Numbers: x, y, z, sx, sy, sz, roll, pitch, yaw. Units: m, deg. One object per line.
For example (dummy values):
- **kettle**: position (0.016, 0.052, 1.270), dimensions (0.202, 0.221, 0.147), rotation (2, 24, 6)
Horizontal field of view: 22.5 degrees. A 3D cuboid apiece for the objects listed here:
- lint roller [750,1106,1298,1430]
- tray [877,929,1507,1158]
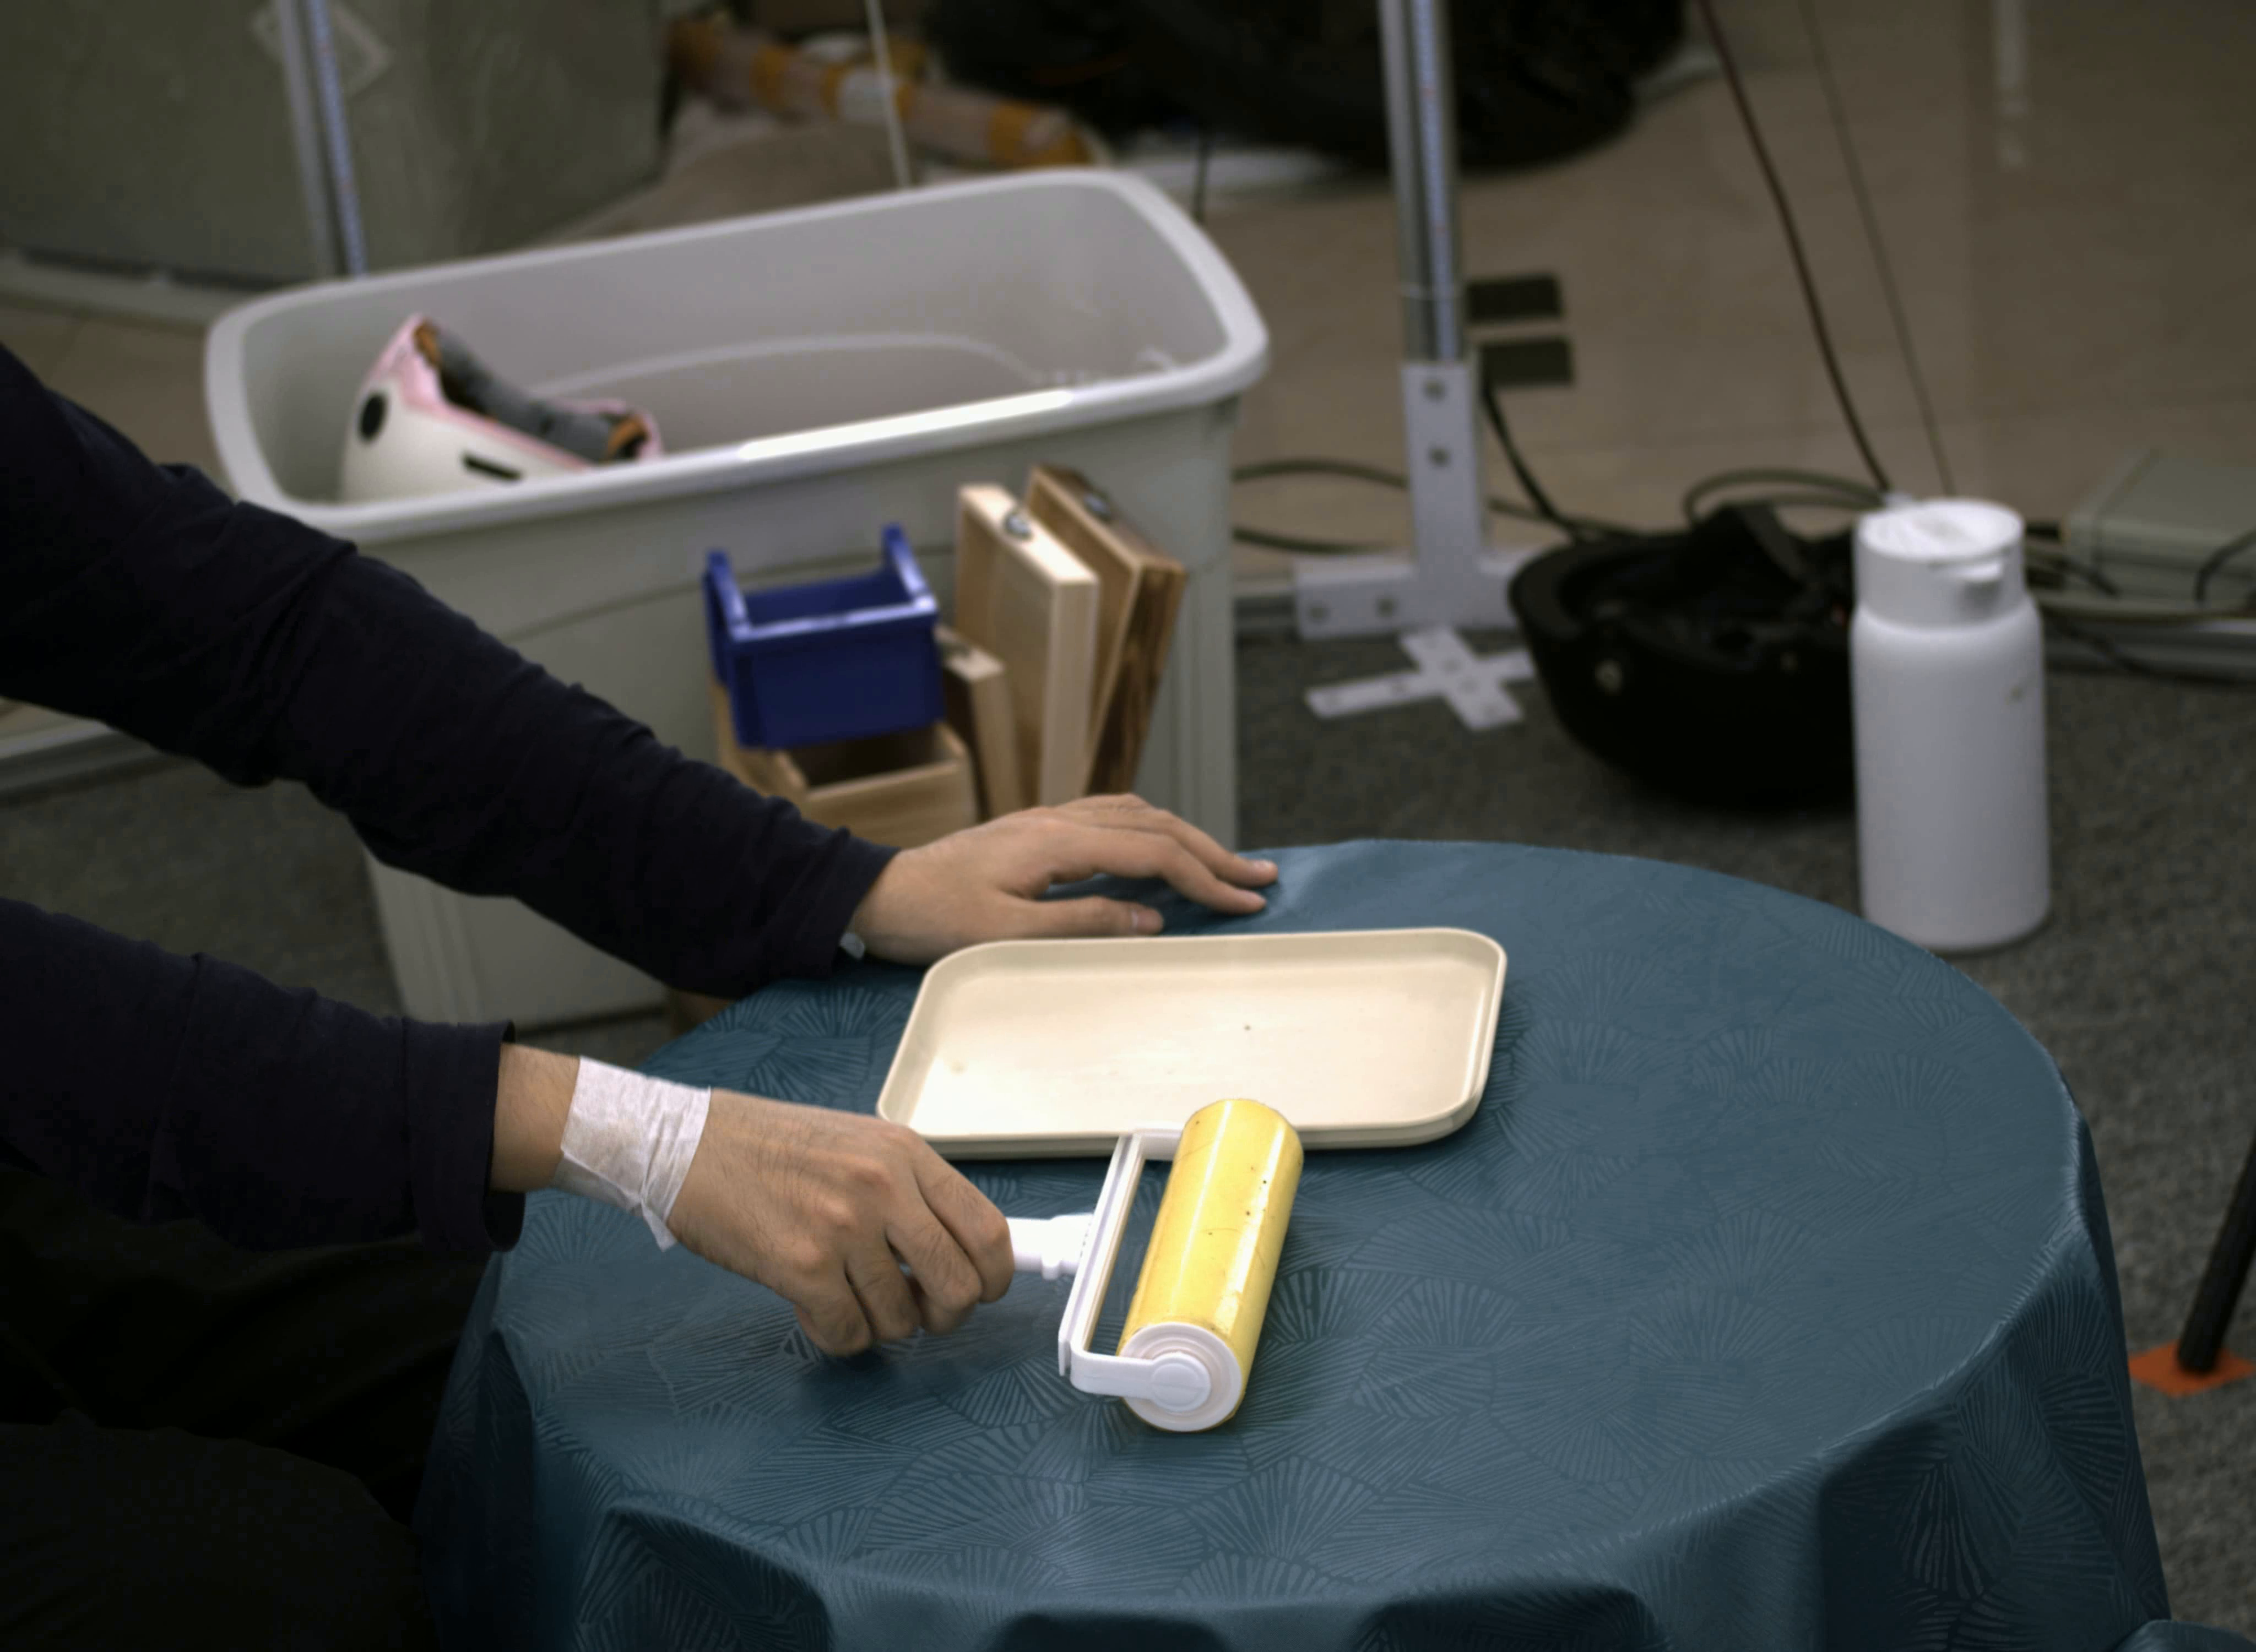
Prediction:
- **lint roller**: position (-0.040, 0.147, 2.049), dimensions (0.191, 0.052, 0.172), rotation (11, 26, 2)
- **tray**: position (0.028, 0.087, 2.236), dimensions (0.239, 0.018, 0.169), rotation (-2, 24, 10)
